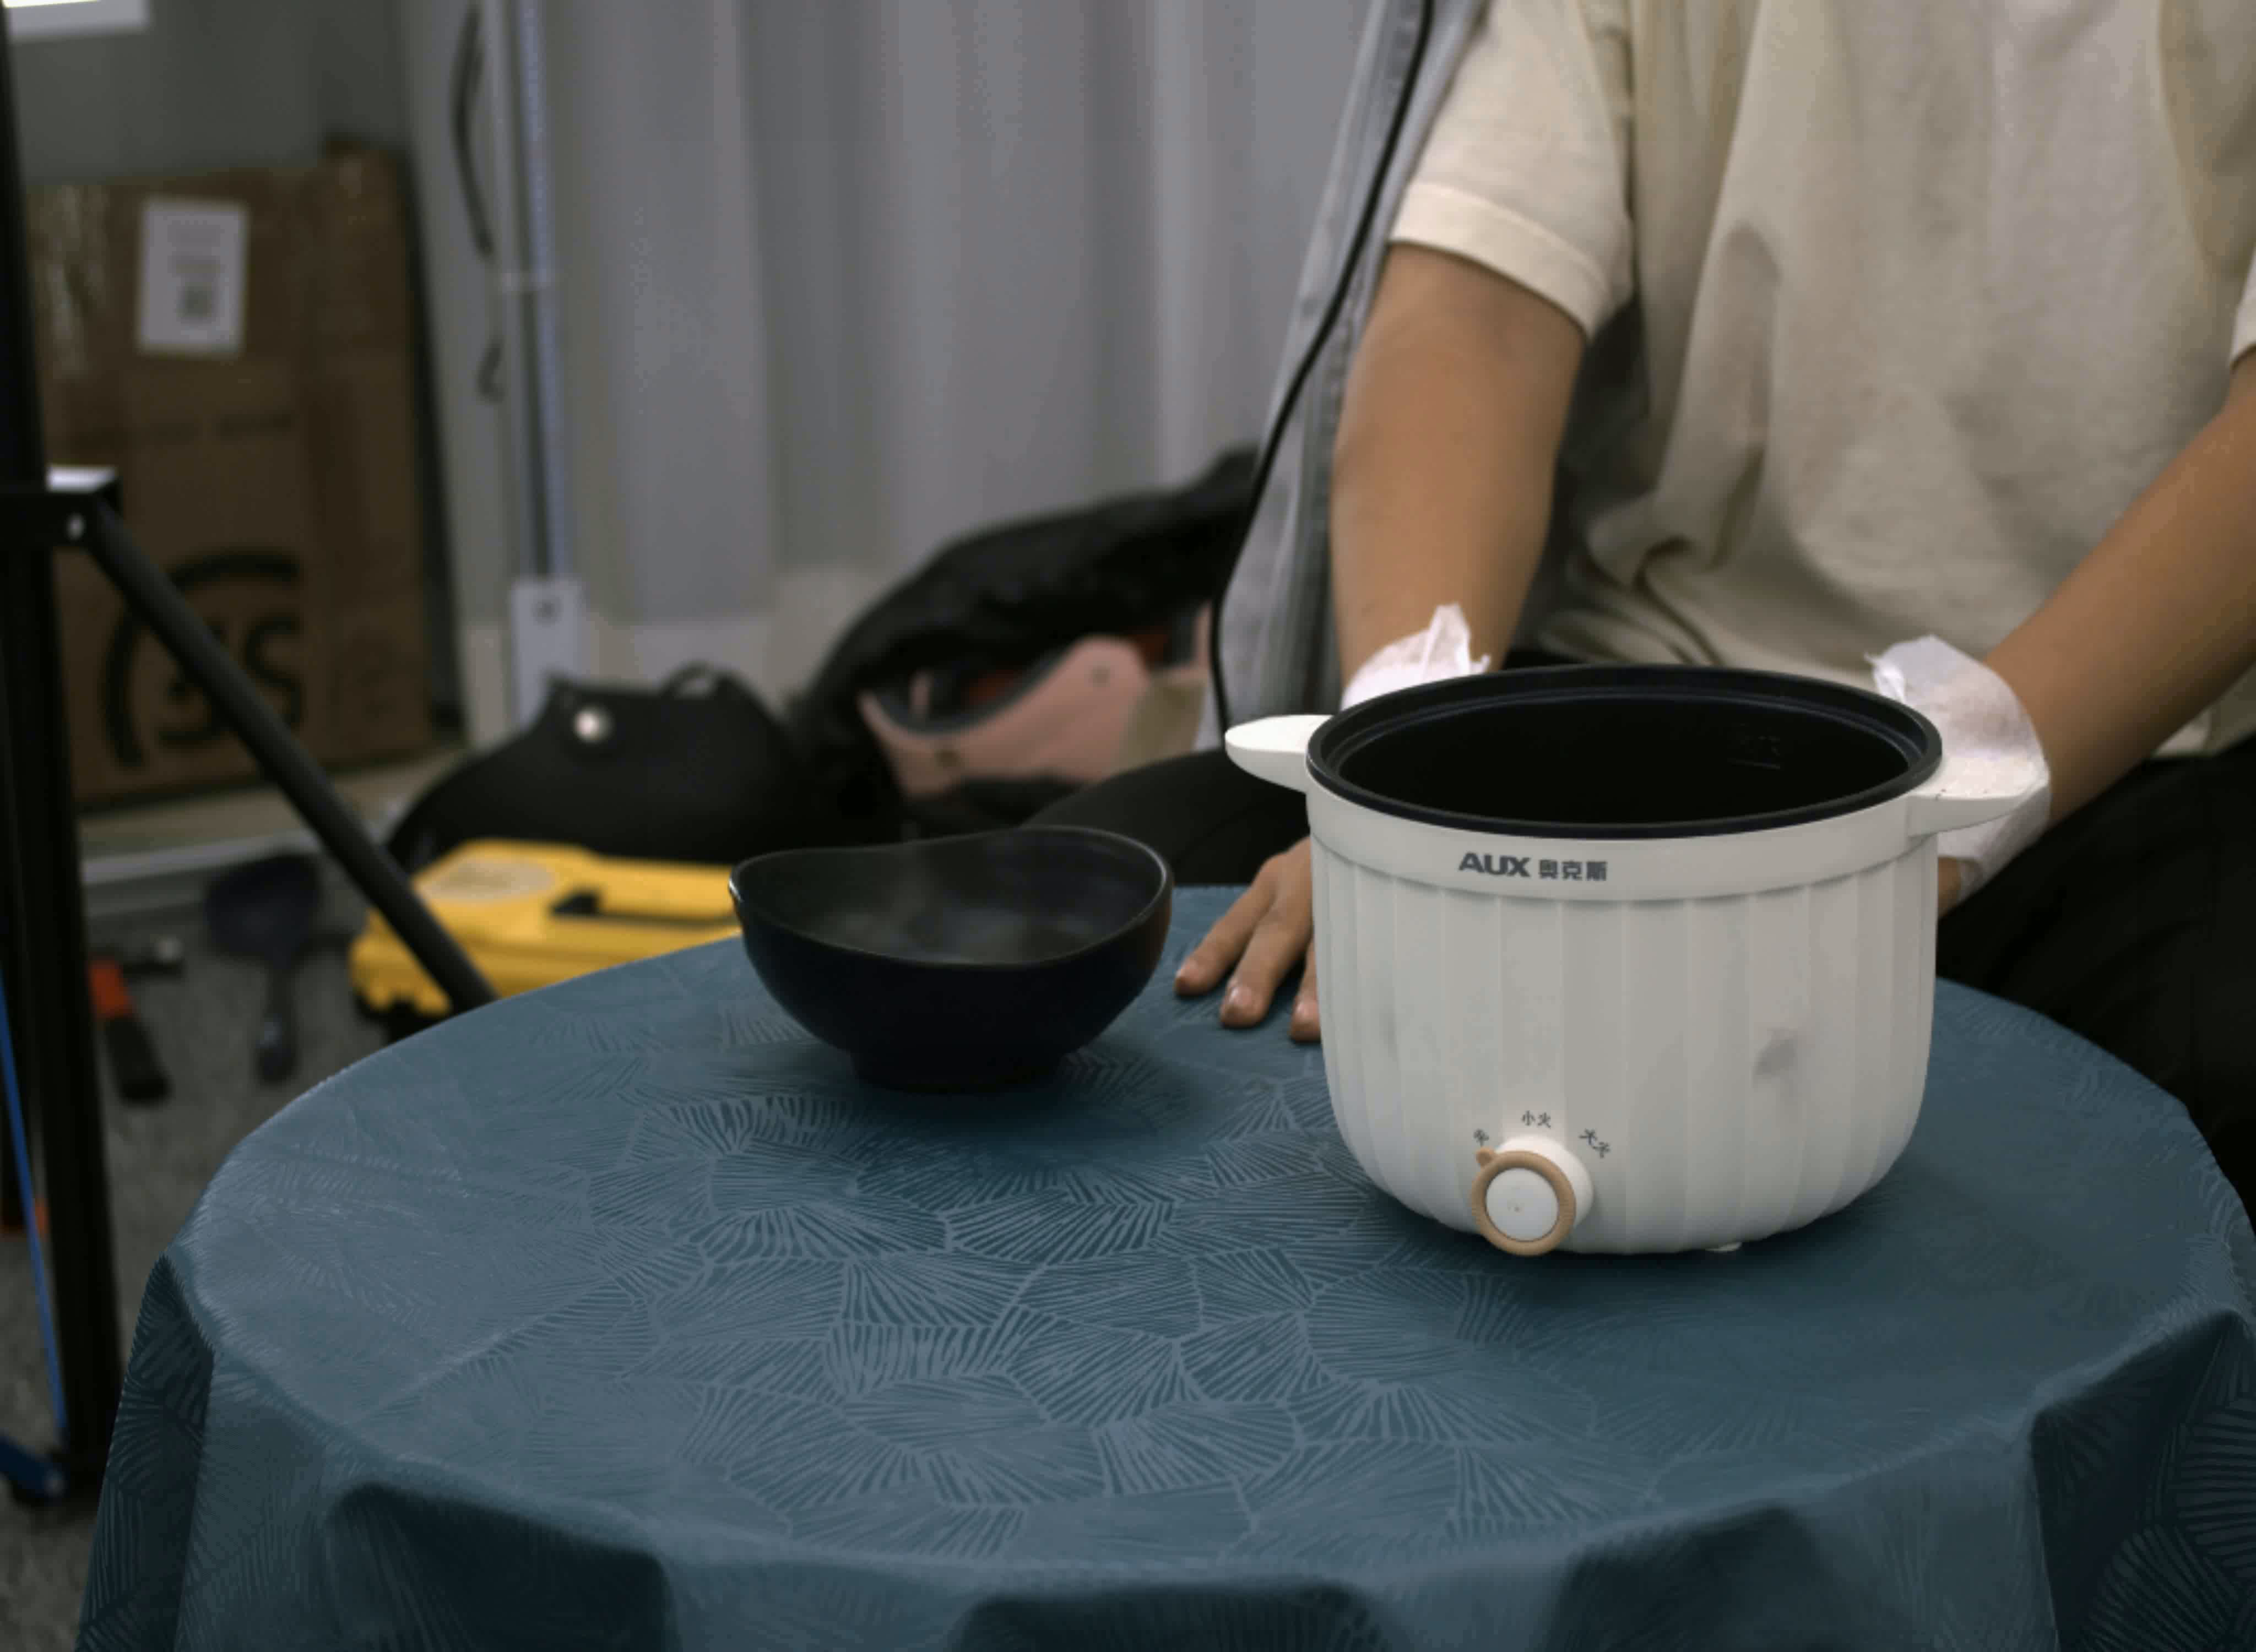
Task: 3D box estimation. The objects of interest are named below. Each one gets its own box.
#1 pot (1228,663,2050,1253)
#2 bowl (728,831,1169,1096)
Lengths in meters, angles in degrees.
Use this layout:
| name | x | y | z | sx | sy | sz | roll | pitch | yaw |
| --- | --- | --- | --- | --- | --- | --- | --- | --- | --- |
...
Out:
| name | x | y | z | sx | sy | sz | roll | pitch | yaw |
| --- | --- | --- | --- | --- | --- | --- | --- | --- | --- |
| pot | 0.143 | 0.041 | 1.517 | 0.243 | 0.143 | 0.188 | 3 | 13 | 22 |
| bowl | -0.057 | 0.045 | 1.673 | 0.135 | 0.067 | 0.173 | -5 | 15 | -15 |
